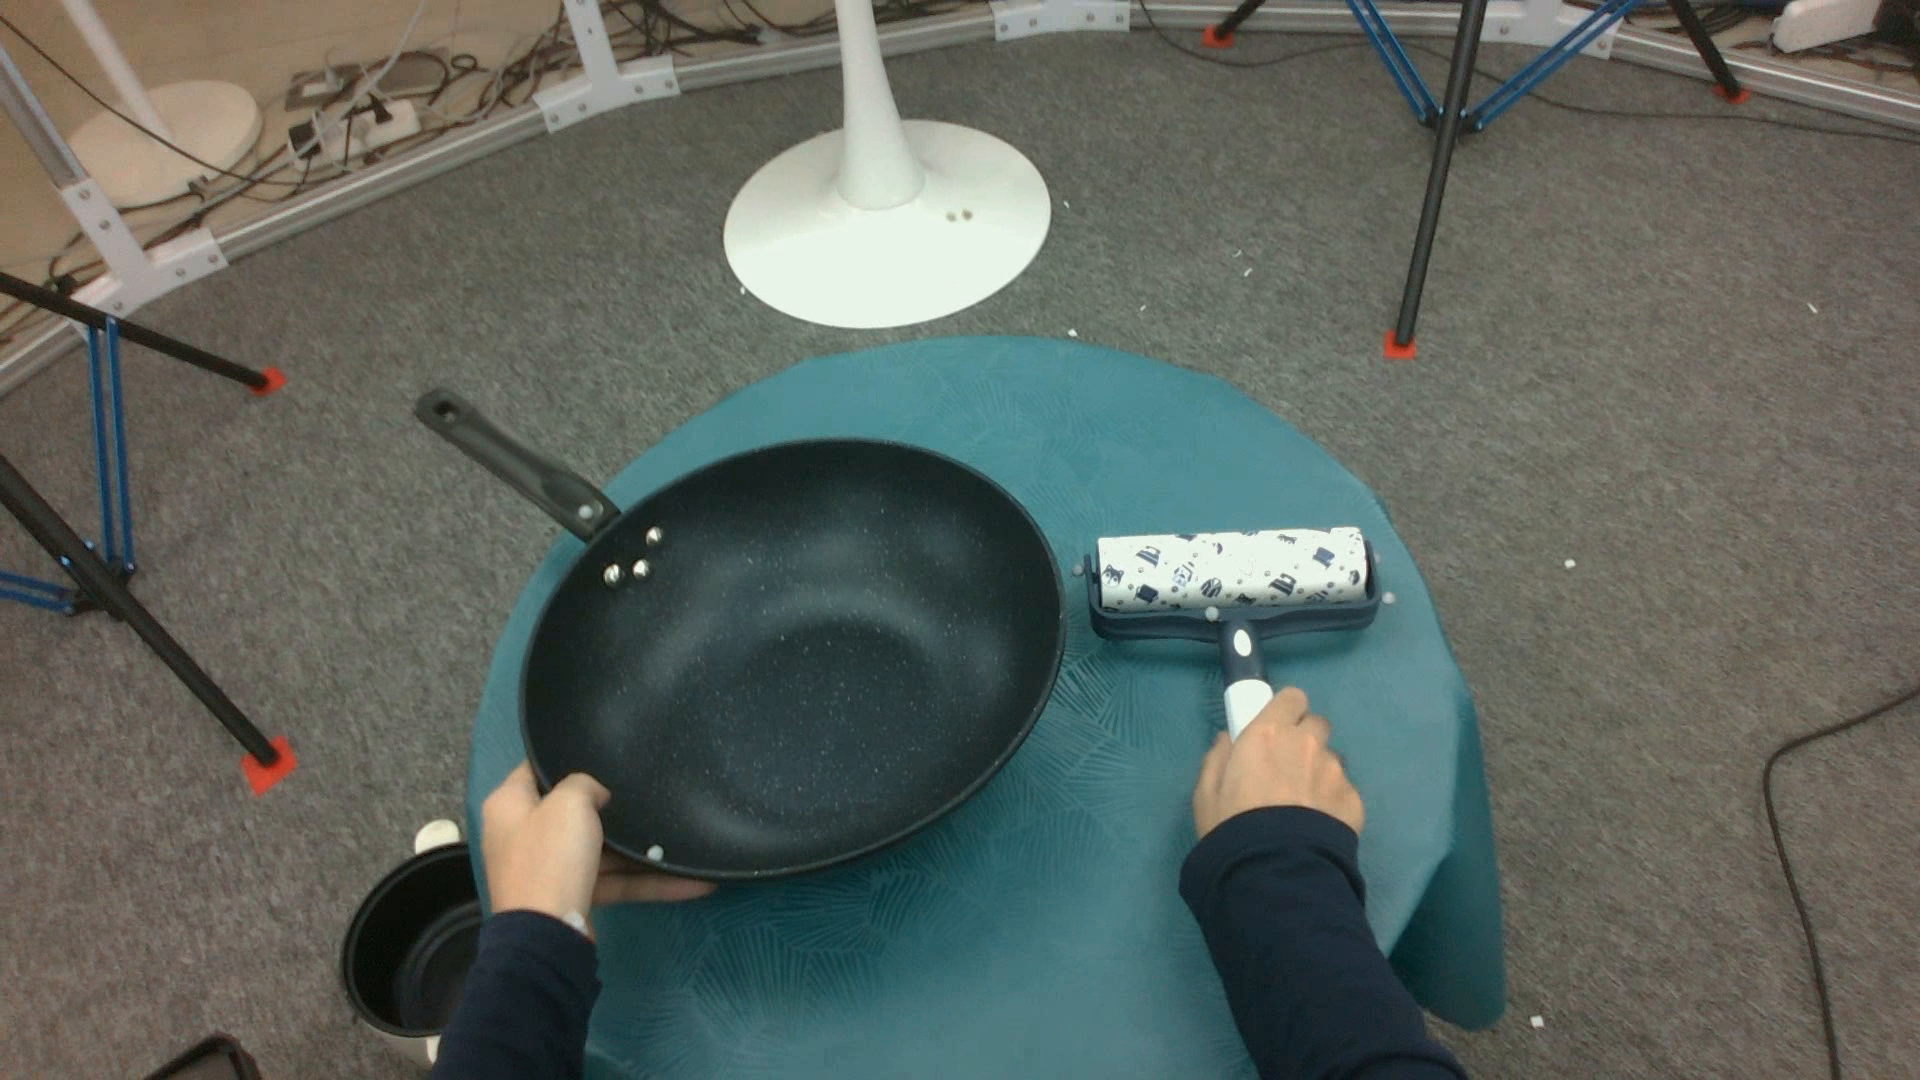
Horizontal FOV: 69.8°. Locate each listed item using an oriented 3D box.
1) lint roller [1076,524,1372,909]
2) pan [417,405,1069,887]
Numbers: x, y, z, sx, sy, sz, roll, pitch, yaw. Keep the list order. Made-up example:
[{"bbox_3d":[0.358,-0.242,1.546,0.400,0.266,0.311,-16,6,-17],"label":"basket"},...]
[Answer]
[{"bbox_3d":[0.164,0.089,0.783,0.176,0.050,0.248,-2,47,0],"label":"lint roller"},{"bbox_3d":[-0.157,0.039,0.828,0.476,0.111,0.311,24,54,29],"label":"pan"}]
